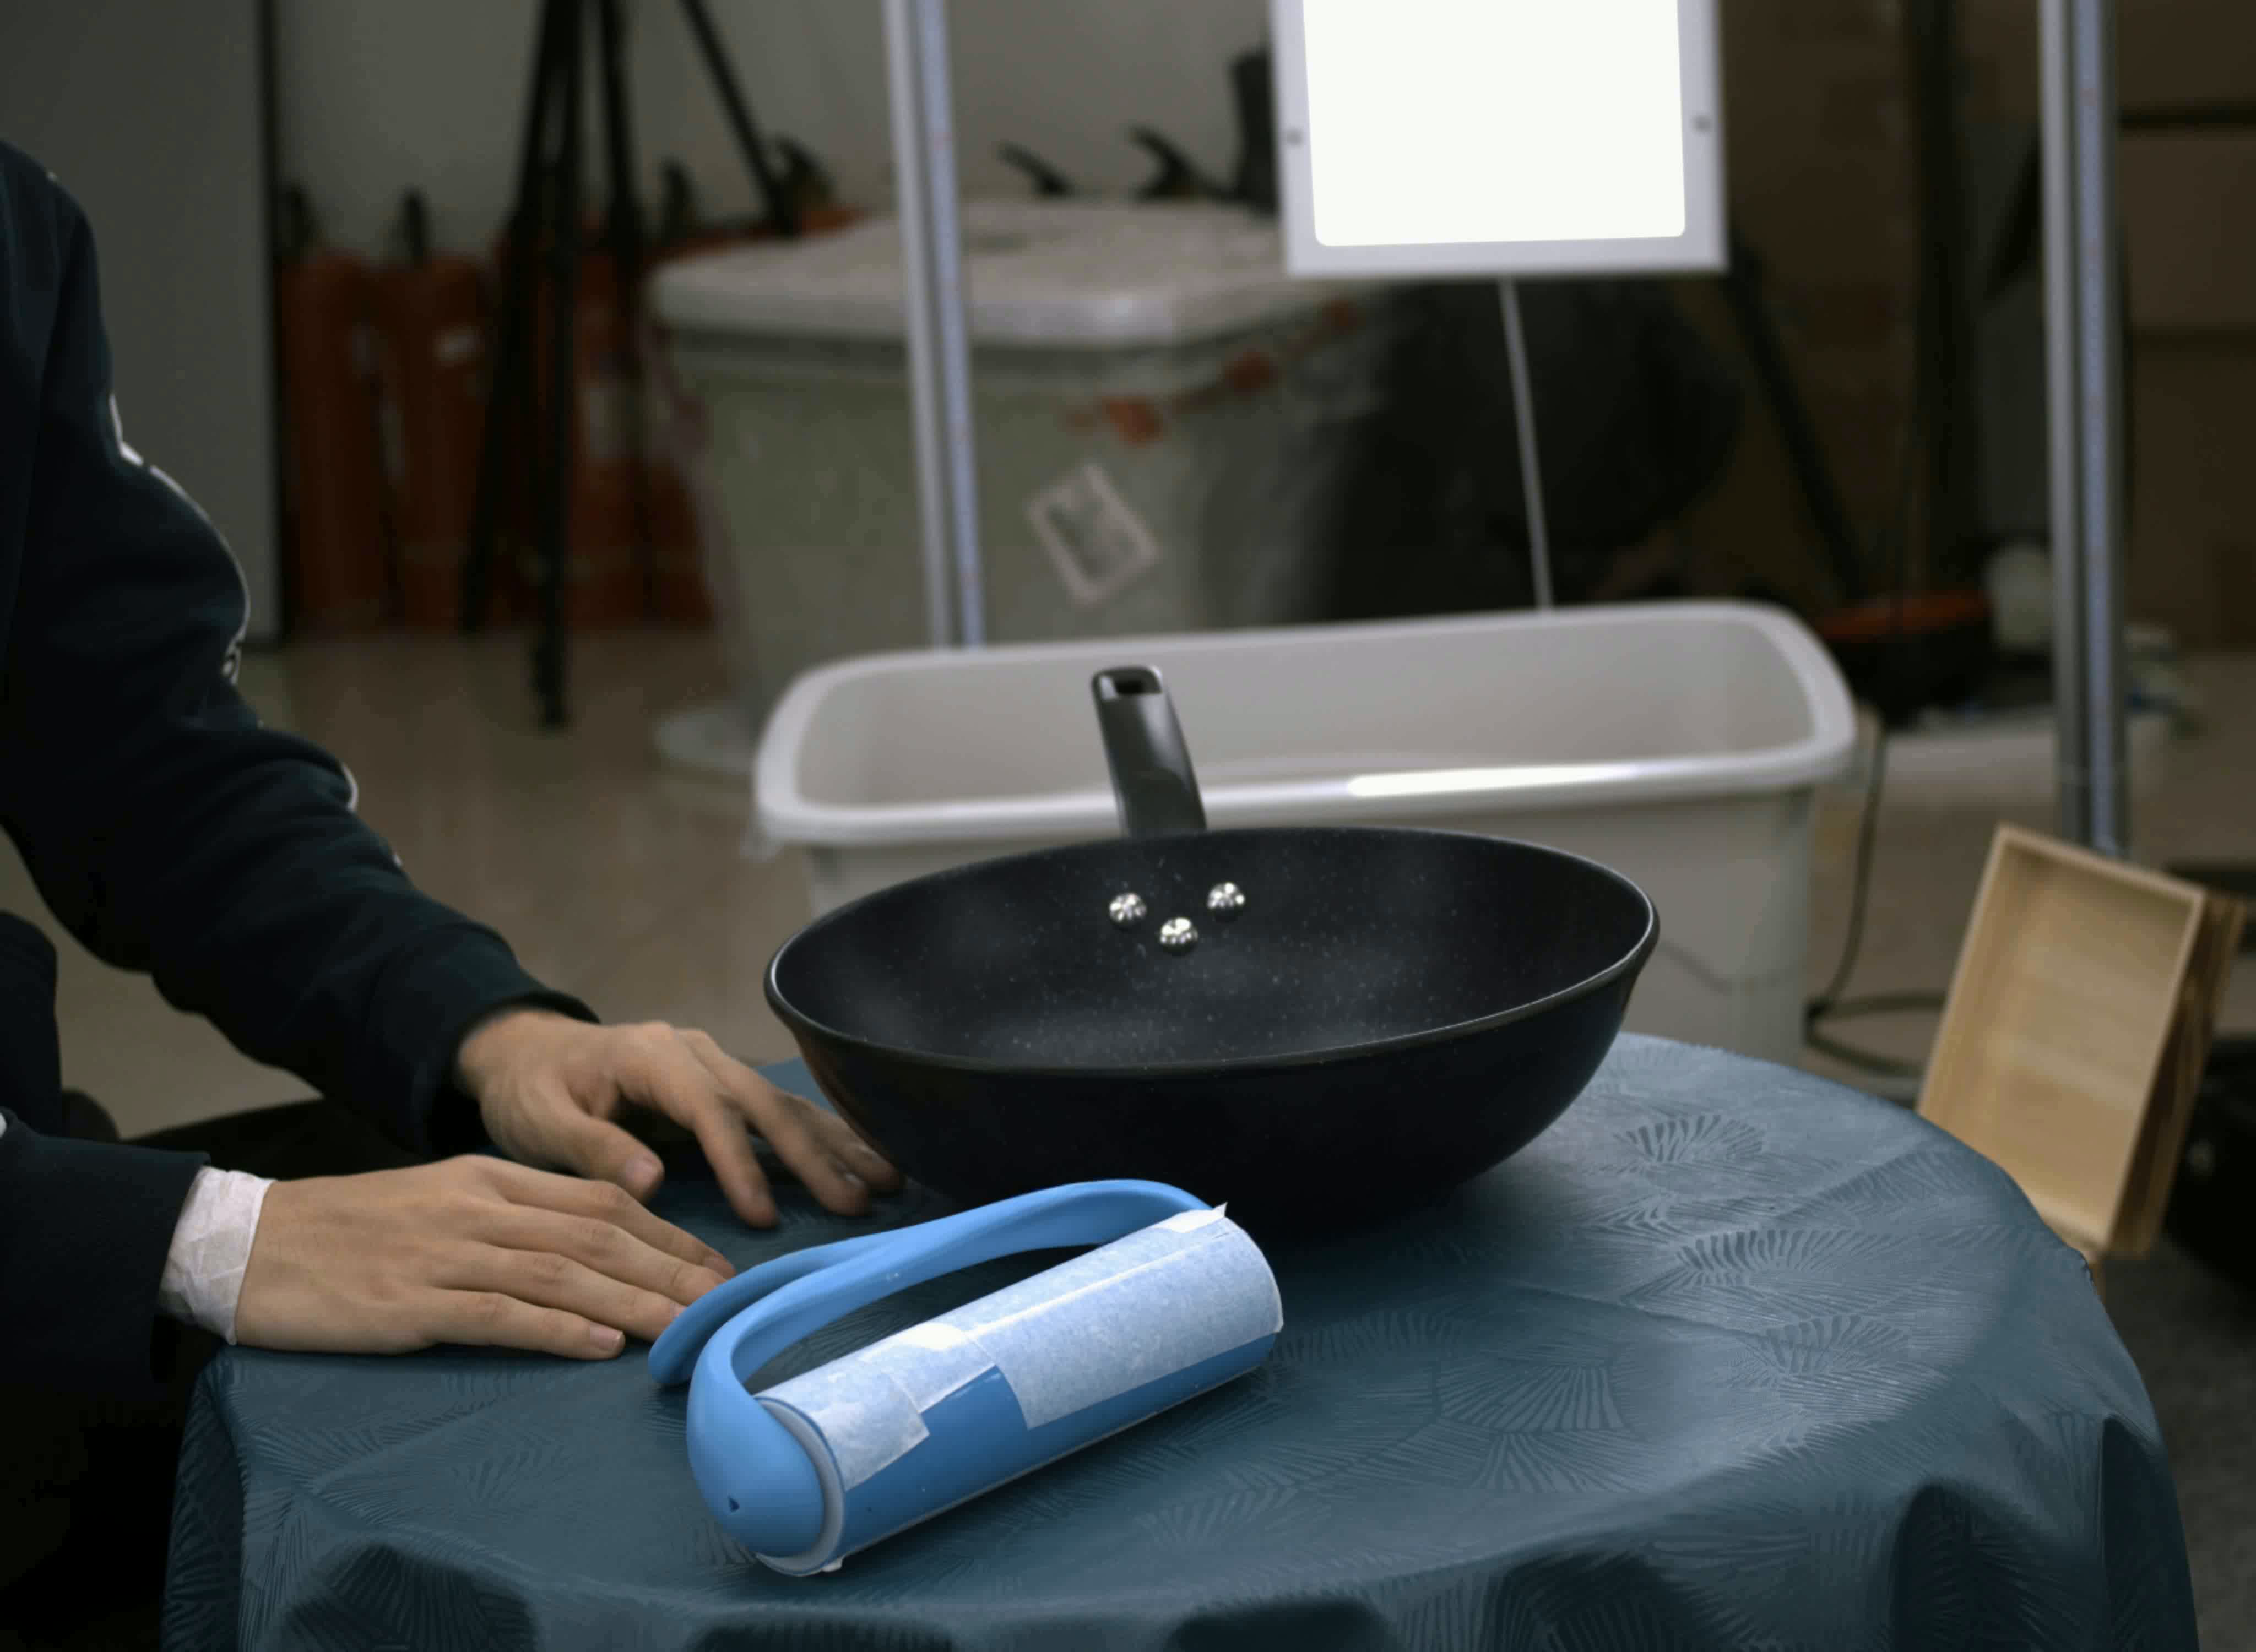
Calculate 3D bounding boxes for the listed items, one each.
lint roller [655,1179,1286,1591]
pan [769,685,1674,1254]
[{"bbox_3d":[-0.079,0.159,1.673,0.184,0.068,0.223,10,23,39],"label":"lint roller"},{"bbox_3d":[0.025,0.052,1.967,0.308,0.112,0.477,-4,14,-4],"label":"pan"}]
